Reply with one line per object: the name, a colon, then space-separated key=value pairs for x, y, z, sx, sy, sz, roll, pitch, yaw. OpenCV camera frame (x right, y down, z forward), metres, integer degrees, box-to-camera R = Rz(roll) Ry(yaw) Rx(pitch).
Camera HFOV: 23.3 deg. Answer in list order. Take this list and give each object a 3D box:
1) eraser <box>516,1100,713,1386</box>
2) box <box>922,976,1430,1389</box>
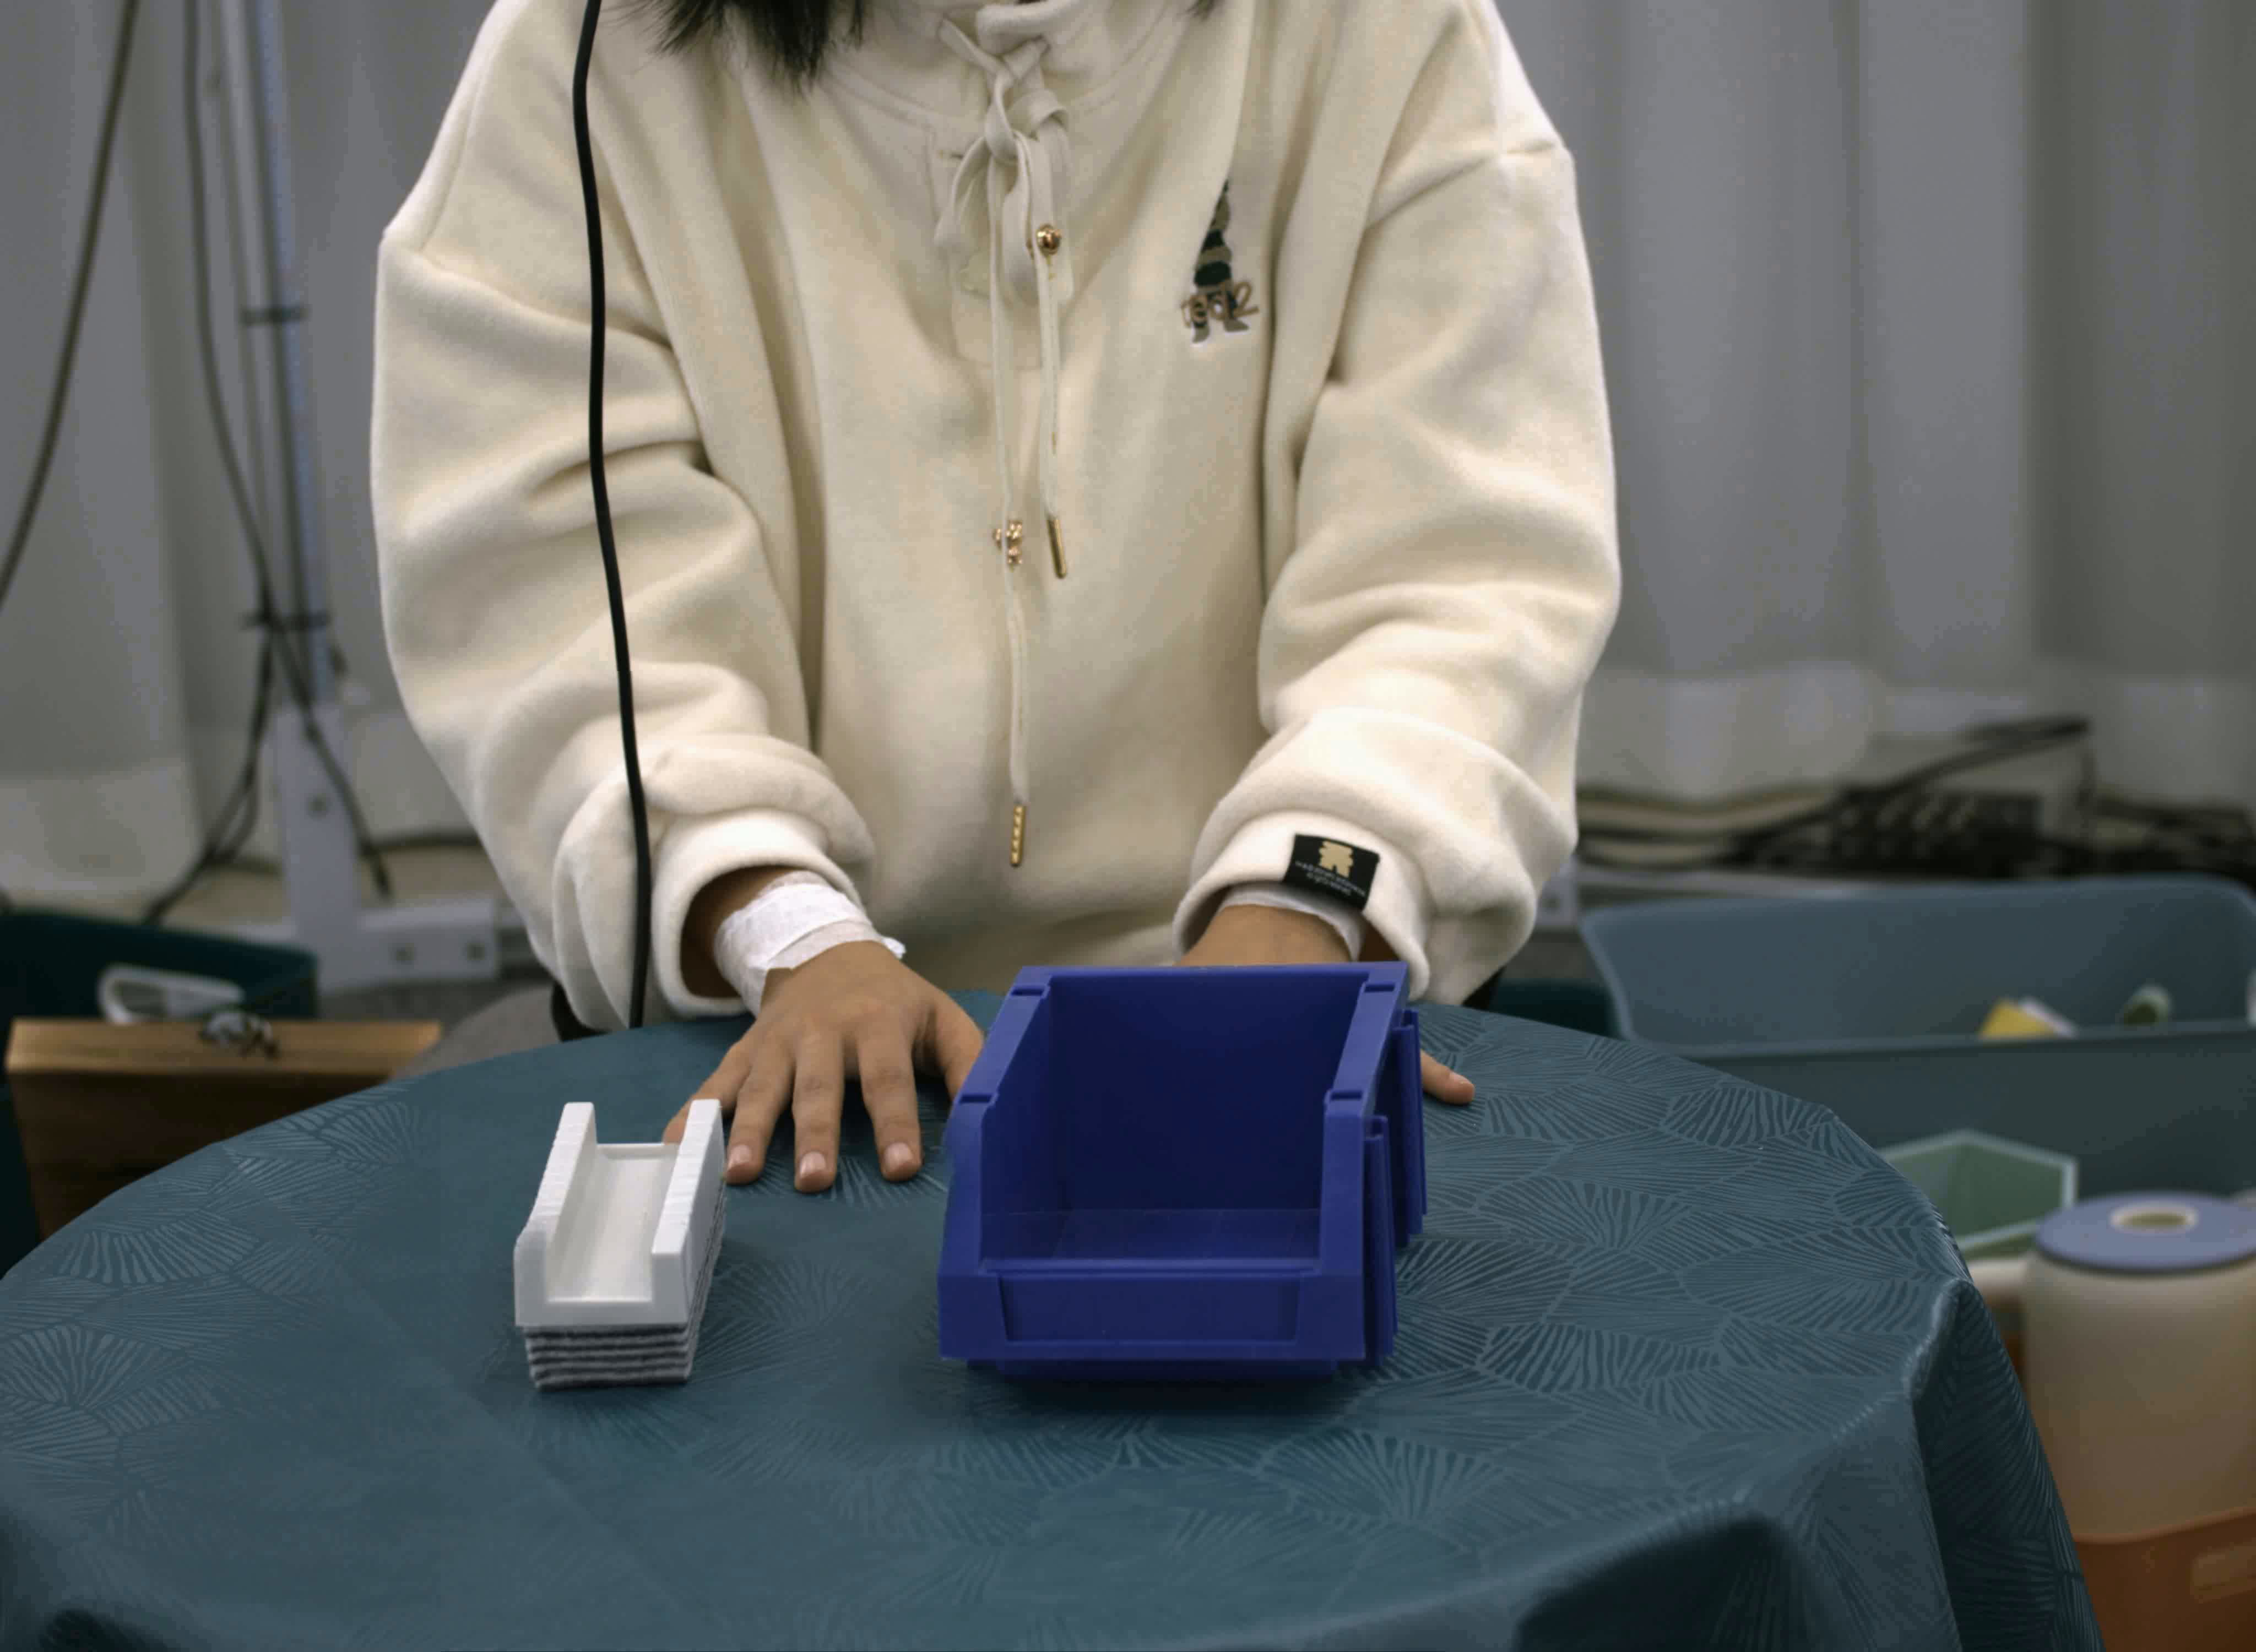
eraser: x=-0.151 y=0.122 z=1.624 sx=0.049 sy=0.046 sz=0.135 roll=-4 pitch=16 yaw=0
box: x=0.017 y=0.106 z=1.587 sx=0.124 sy=0.081 sz=0.180 roll=0 pitch=13 yaw=10
